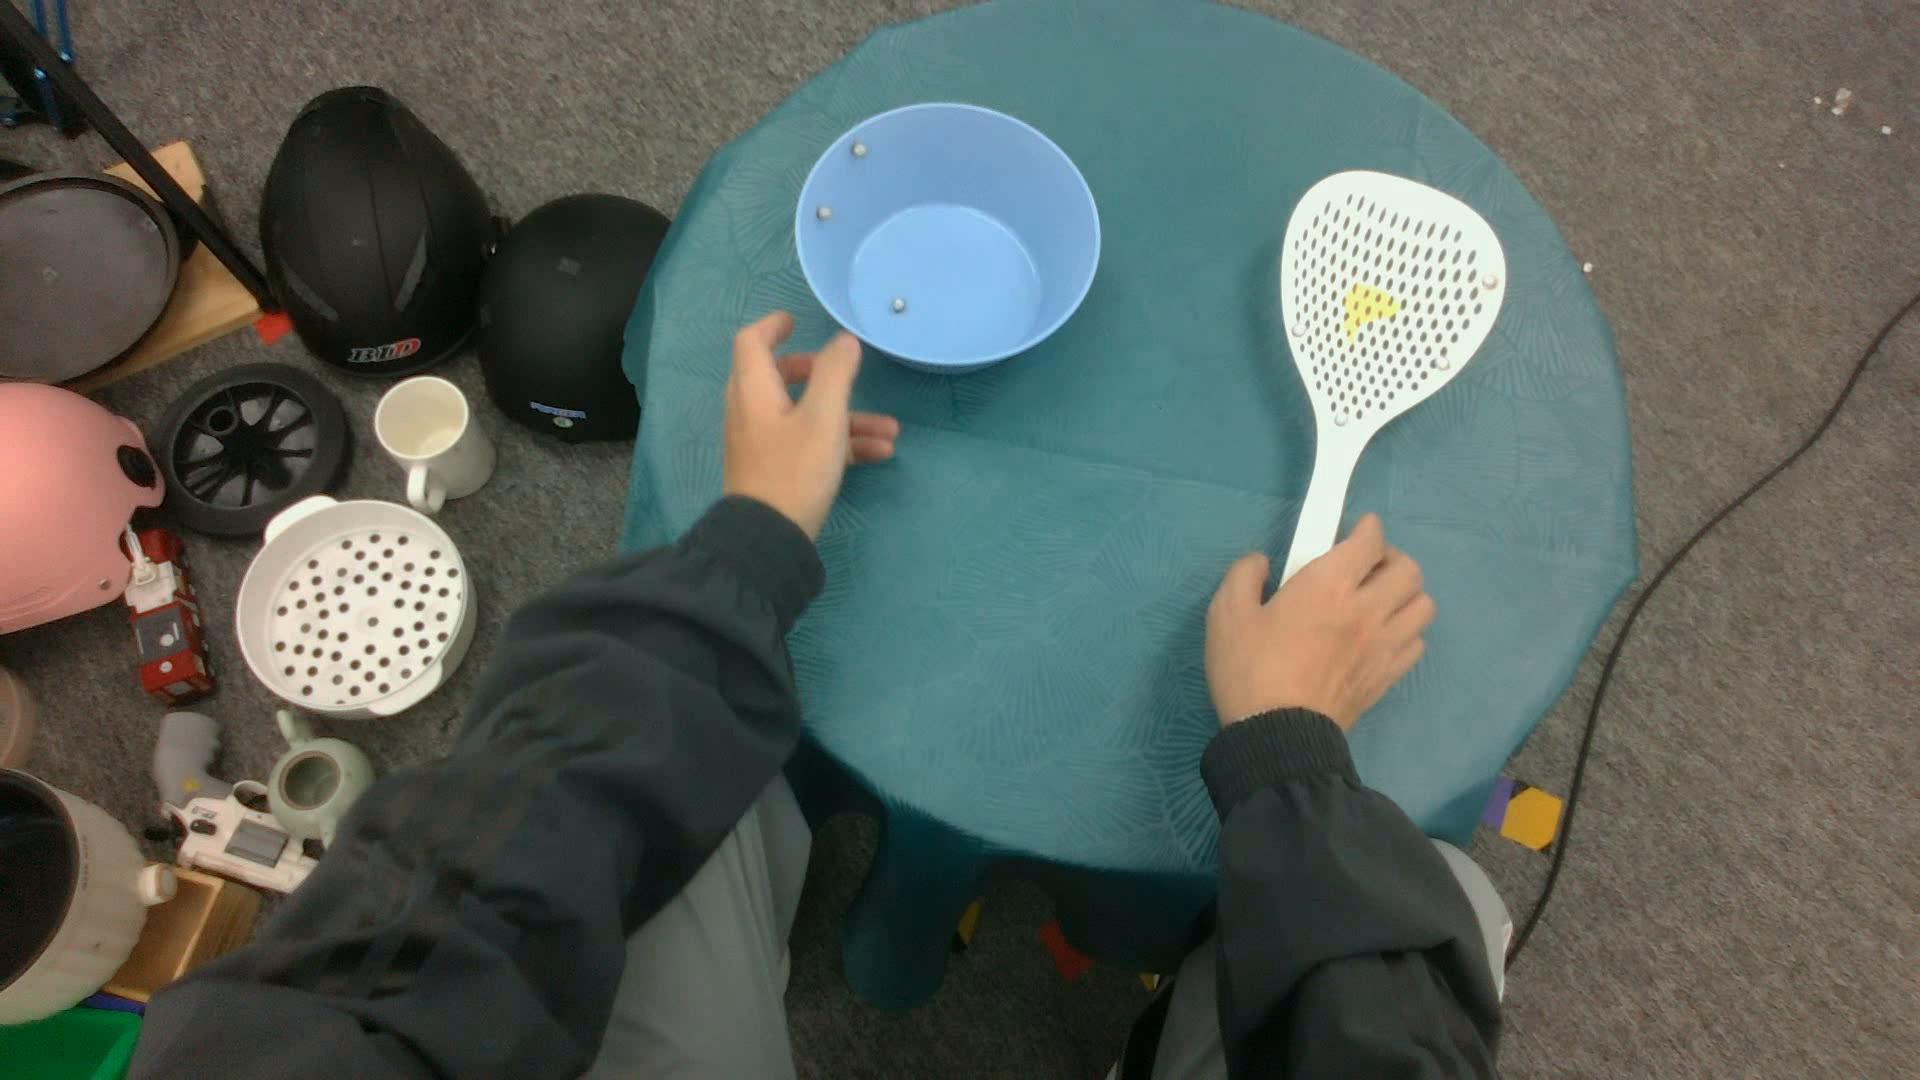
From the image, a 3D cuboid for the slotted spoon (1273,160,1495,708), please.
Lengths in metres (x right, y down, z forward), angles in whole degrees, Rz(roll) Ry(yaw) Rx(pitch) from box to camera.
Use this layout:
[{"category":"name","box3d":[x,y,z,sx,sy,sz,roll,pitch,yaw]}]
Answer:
[{"category":"slotted spoon","box3d":[0.227,-0.070,0.819,0.137,0.050,0.349,18,68,-1]}]

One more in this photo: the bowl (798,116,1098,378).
[{"category":"bowl","box3d":[-0.008,-0.165,0.833,0.176,0.070,0.176,1,68,-2]}]
